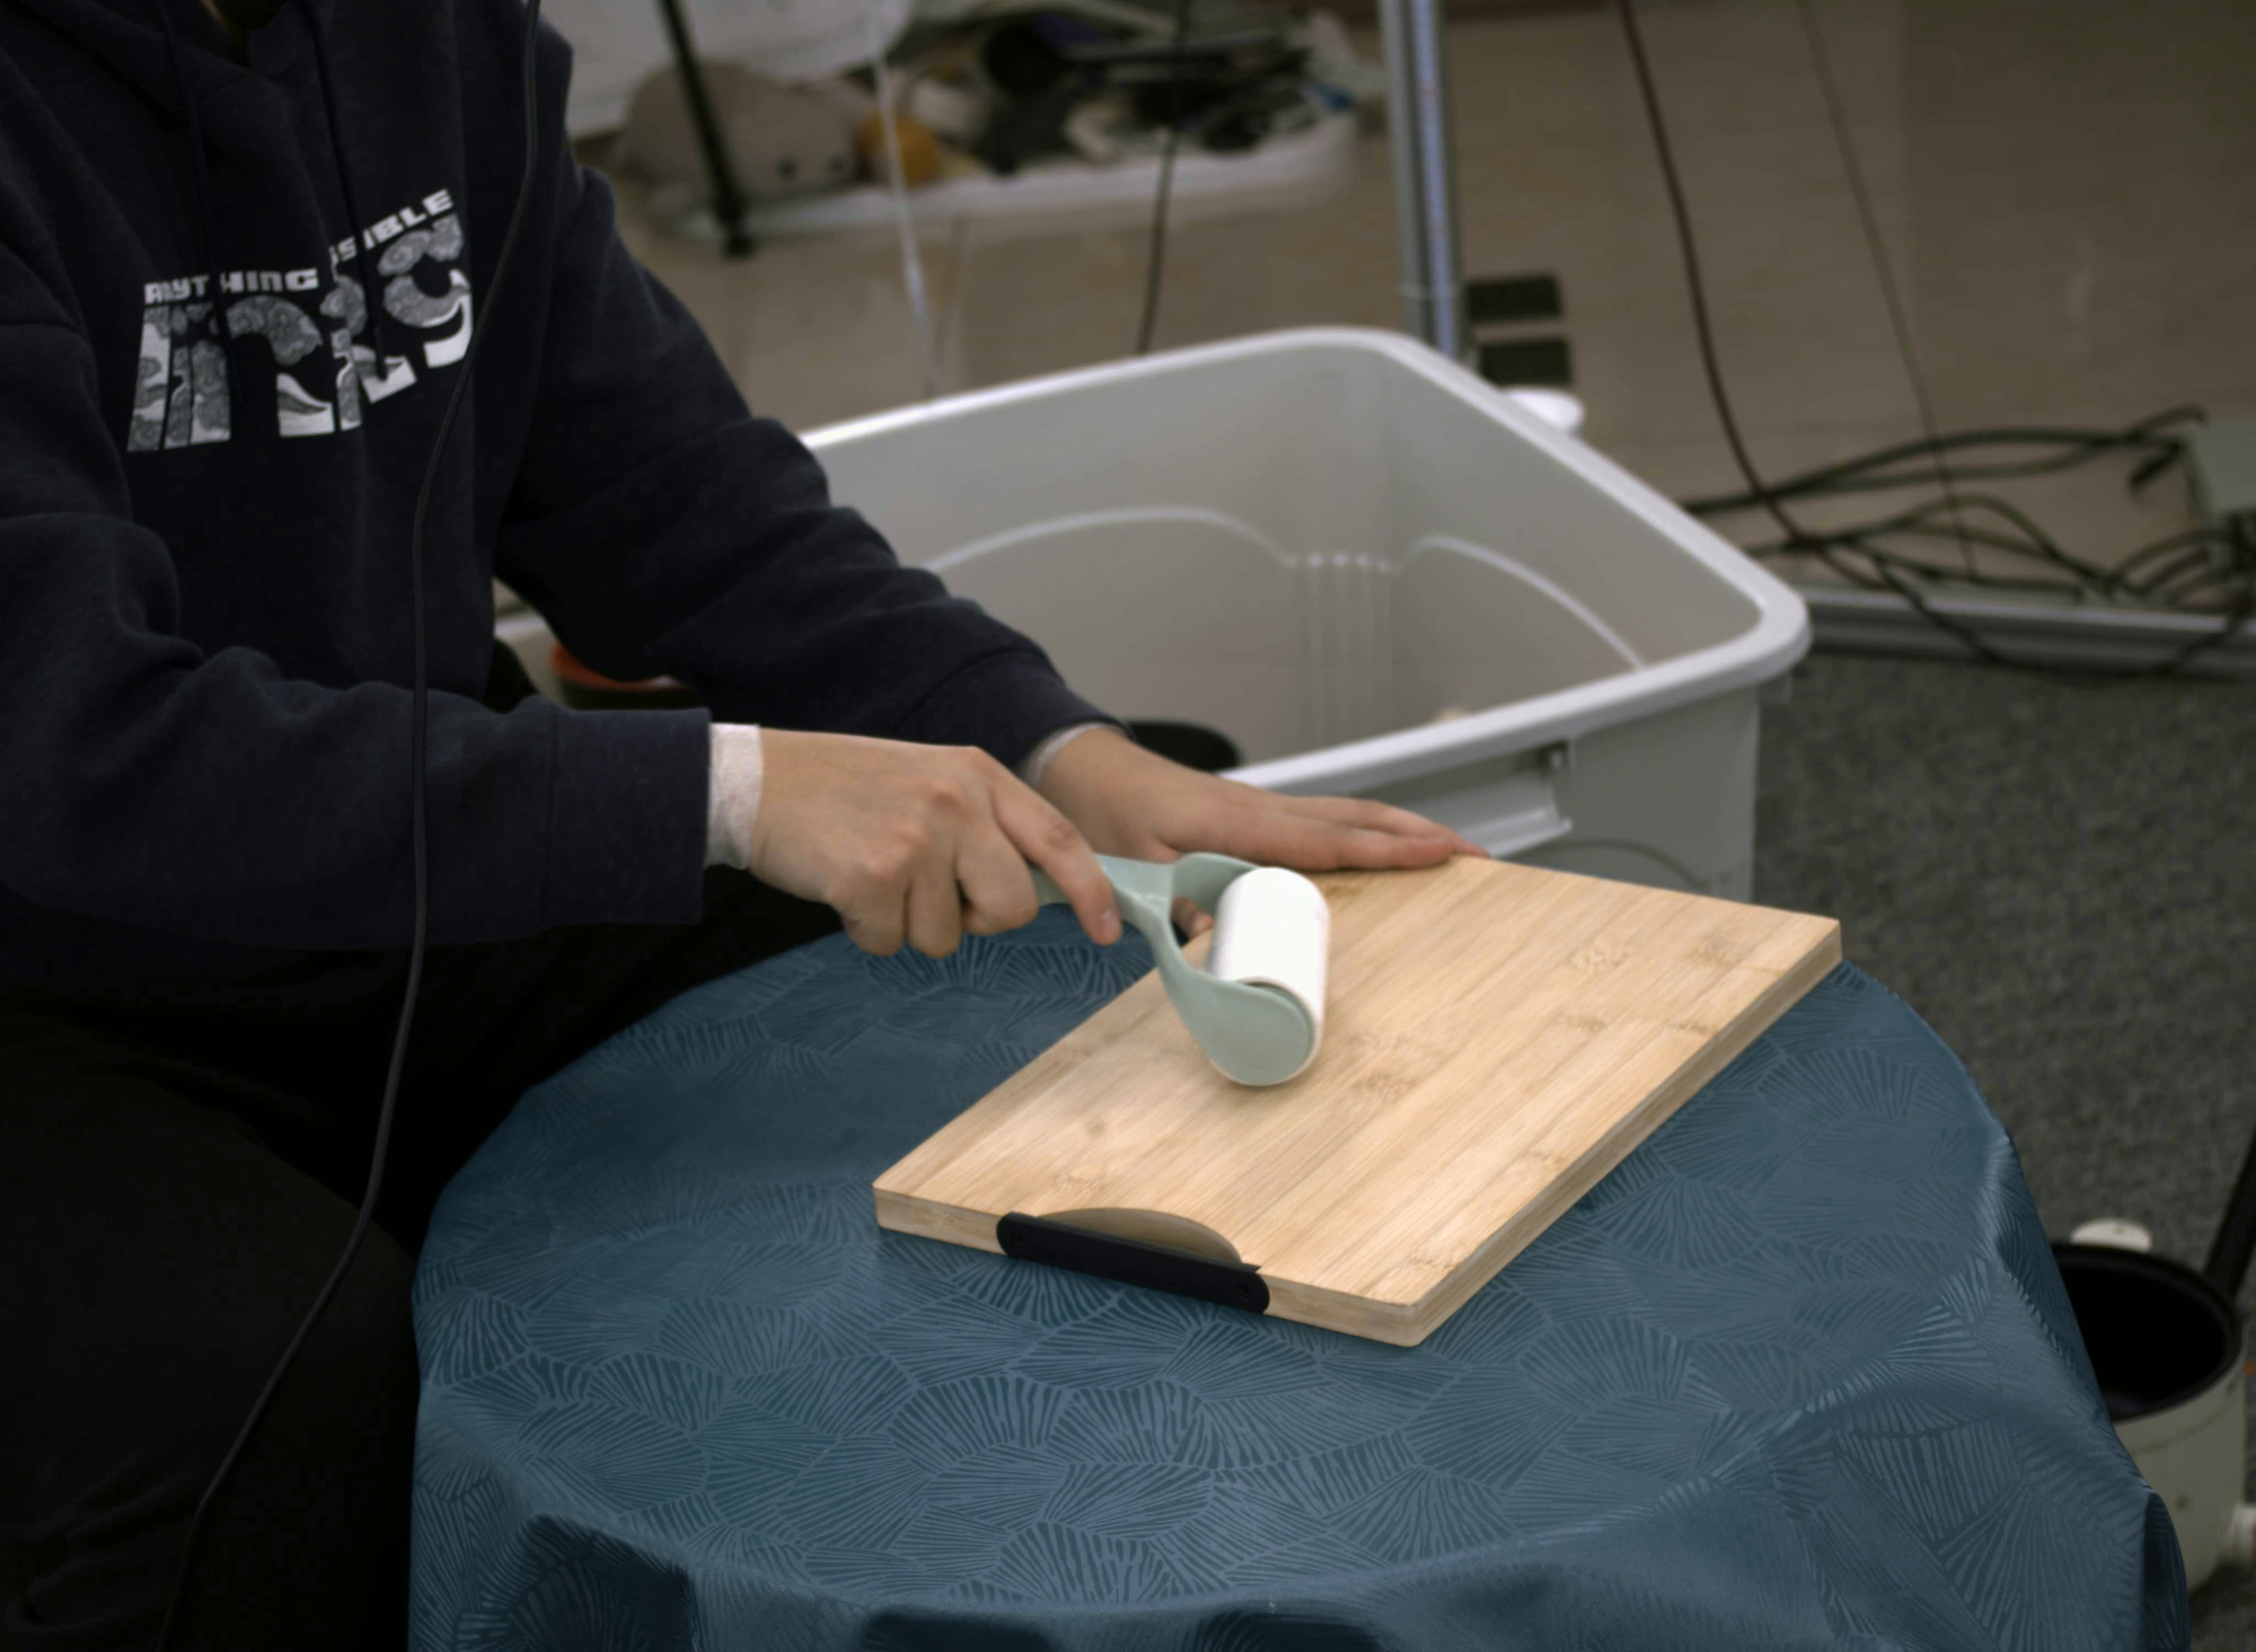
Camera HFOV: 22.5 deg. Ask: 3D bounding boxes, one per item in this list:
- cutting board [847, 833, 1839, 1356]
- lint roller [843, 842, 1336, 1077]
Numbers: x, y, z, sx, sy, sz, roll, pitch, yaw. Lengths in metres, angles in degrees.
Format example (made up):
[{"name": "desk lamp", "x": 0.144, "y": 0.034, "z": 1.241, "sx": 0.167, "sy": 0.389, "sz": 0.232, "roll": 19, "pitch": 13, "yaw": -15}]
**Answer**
[{"name": "cutting board", "x": 0.090, "y": 0.097, "z": 2.199, "sx": 0.249, "sy": 0.024, "sz": 0.345, "roll": 10, "pitch": 29, "yaw": 32}, {"name": "lint roller", "x": -0.012, "y": 0.033, "z": 2.212, "sx": 0.197, "sy": 0.049, "sz": 0.115, "roll": 17, "pitch": 28, "yaw": -5}]
